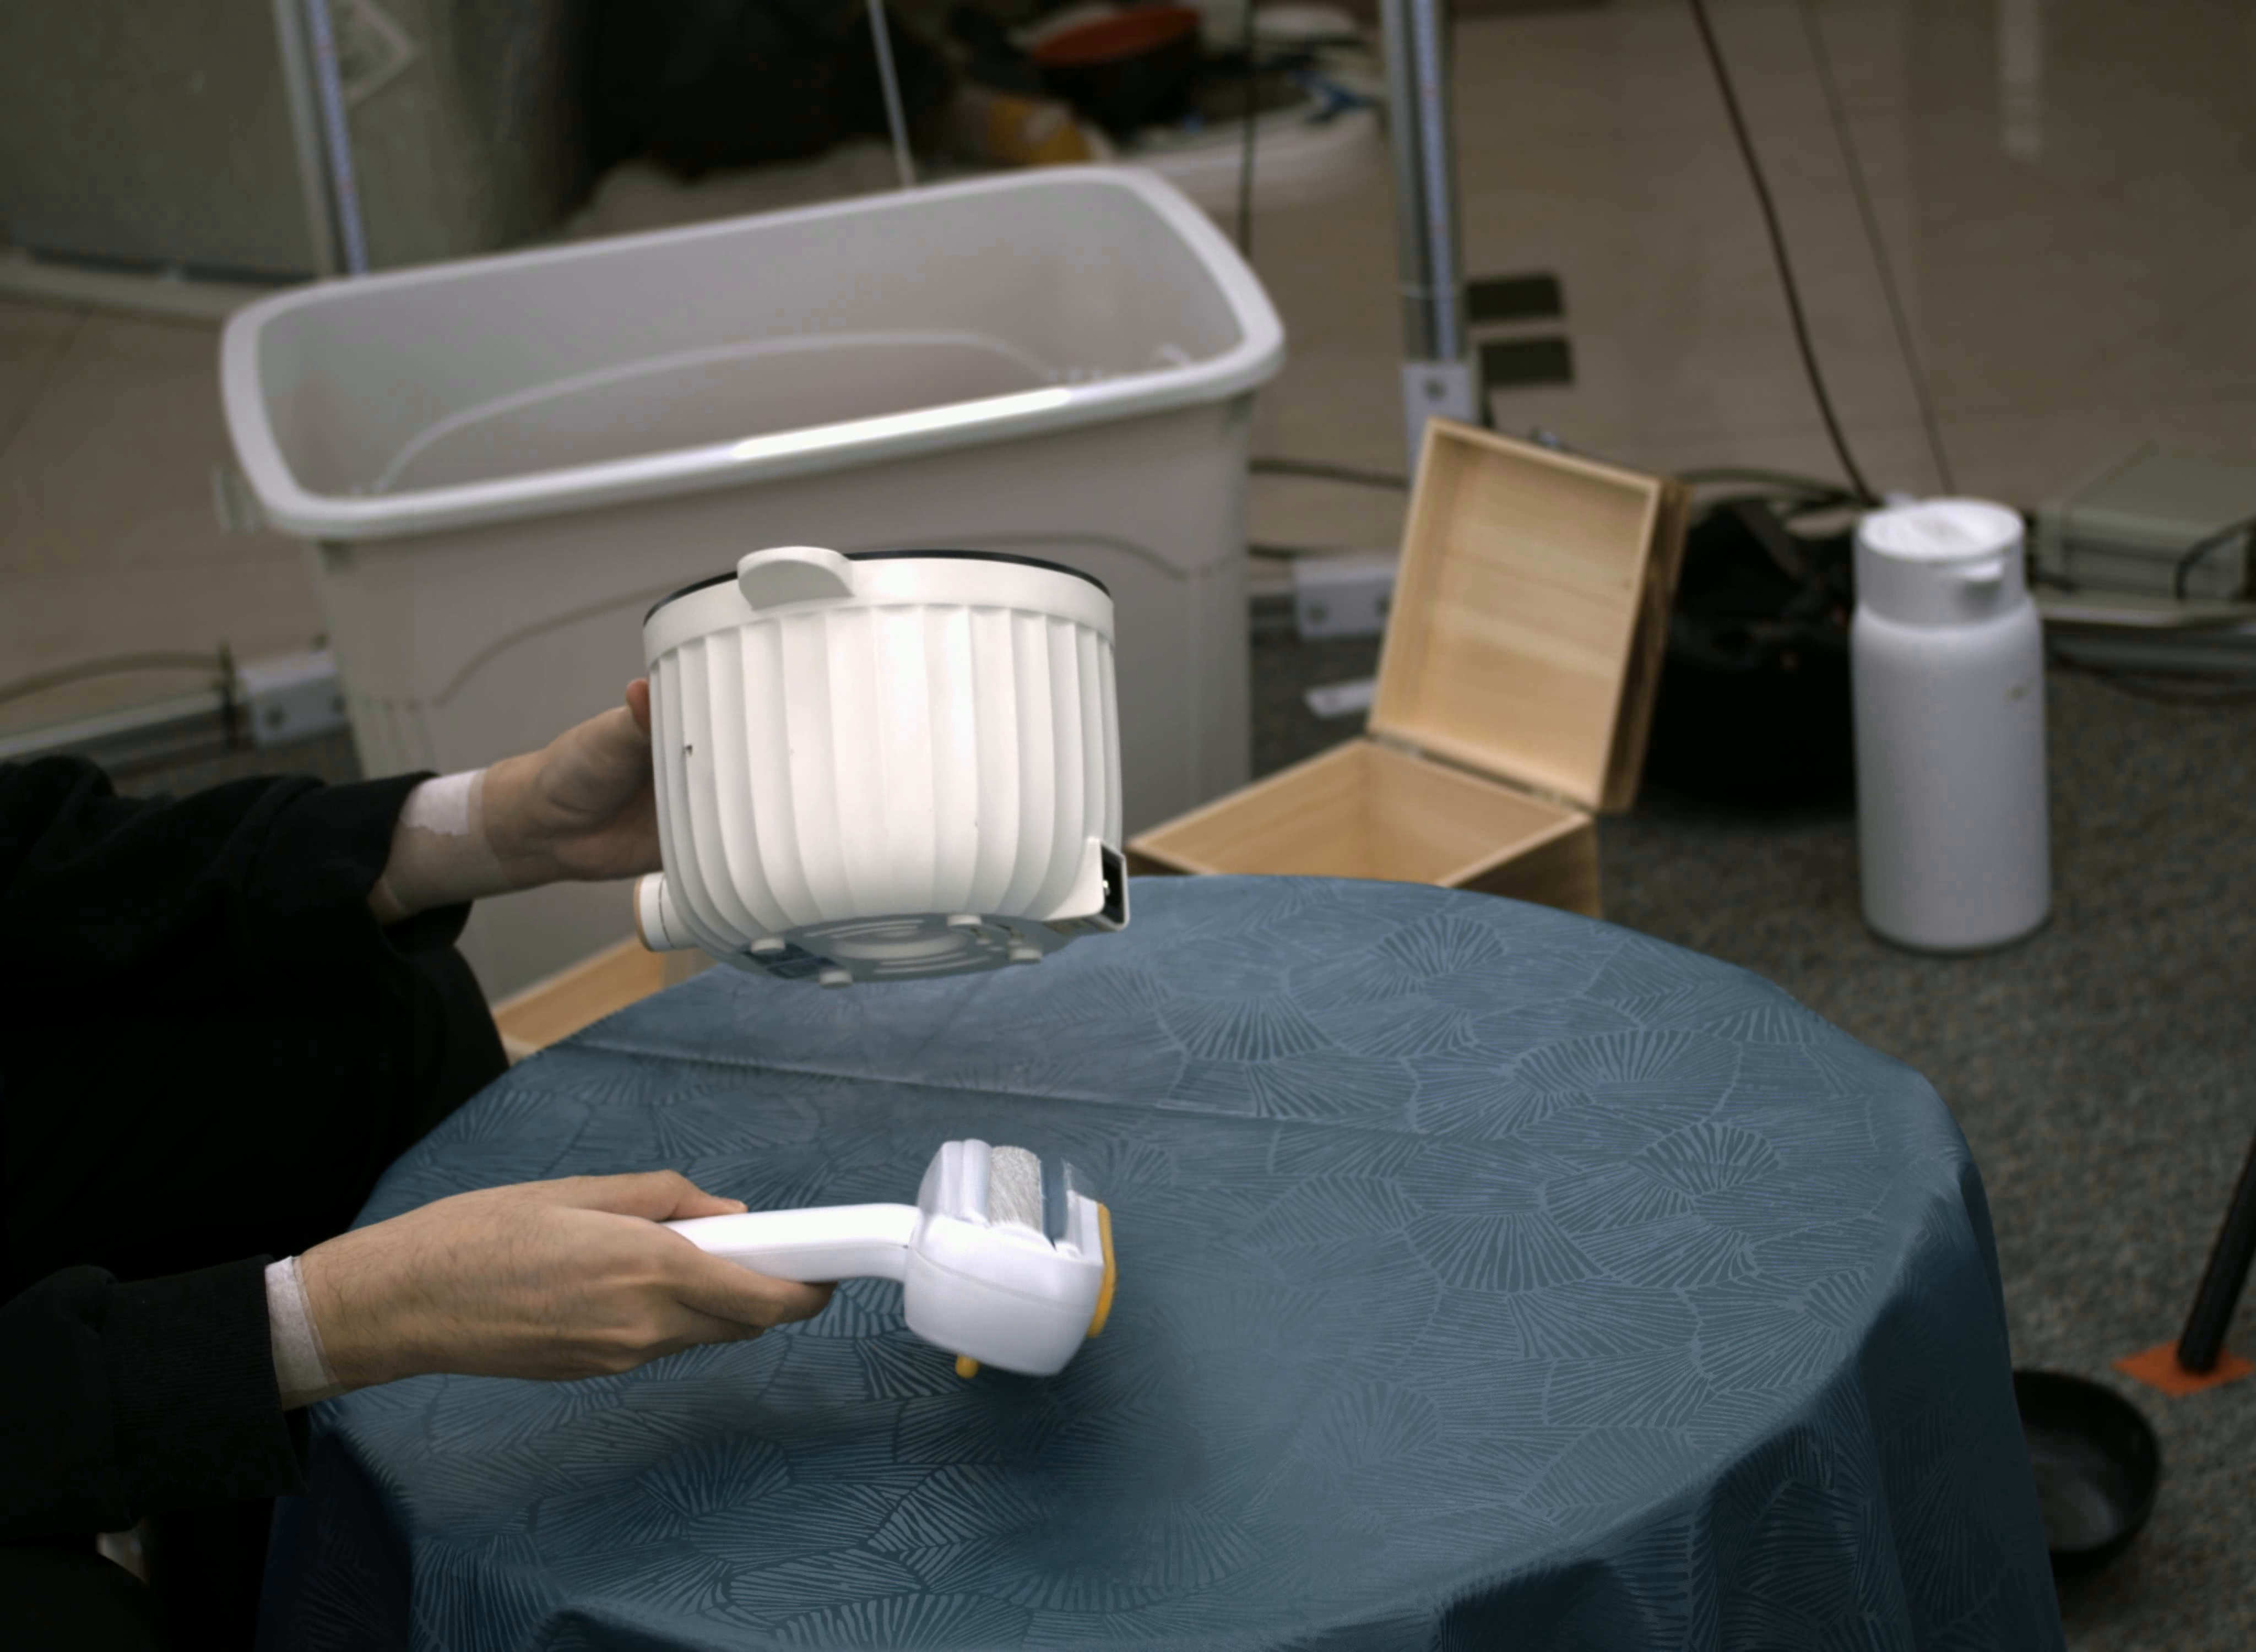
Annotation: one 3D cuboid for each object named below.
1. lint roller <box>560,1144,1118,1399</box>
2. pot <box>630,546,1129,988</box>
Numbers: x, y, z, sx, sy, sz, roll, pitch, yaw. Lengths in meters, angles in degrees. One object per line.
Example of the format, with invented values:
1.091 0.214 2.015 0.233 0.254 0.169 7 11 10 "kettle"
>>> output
-0.102 0.150 1.997 0.192 0.075 0.191 10 12 1 "lint roller"
-0.097 -0.017 2.158 0.190 0.142 0.242 -5 -13 15 "pot"
